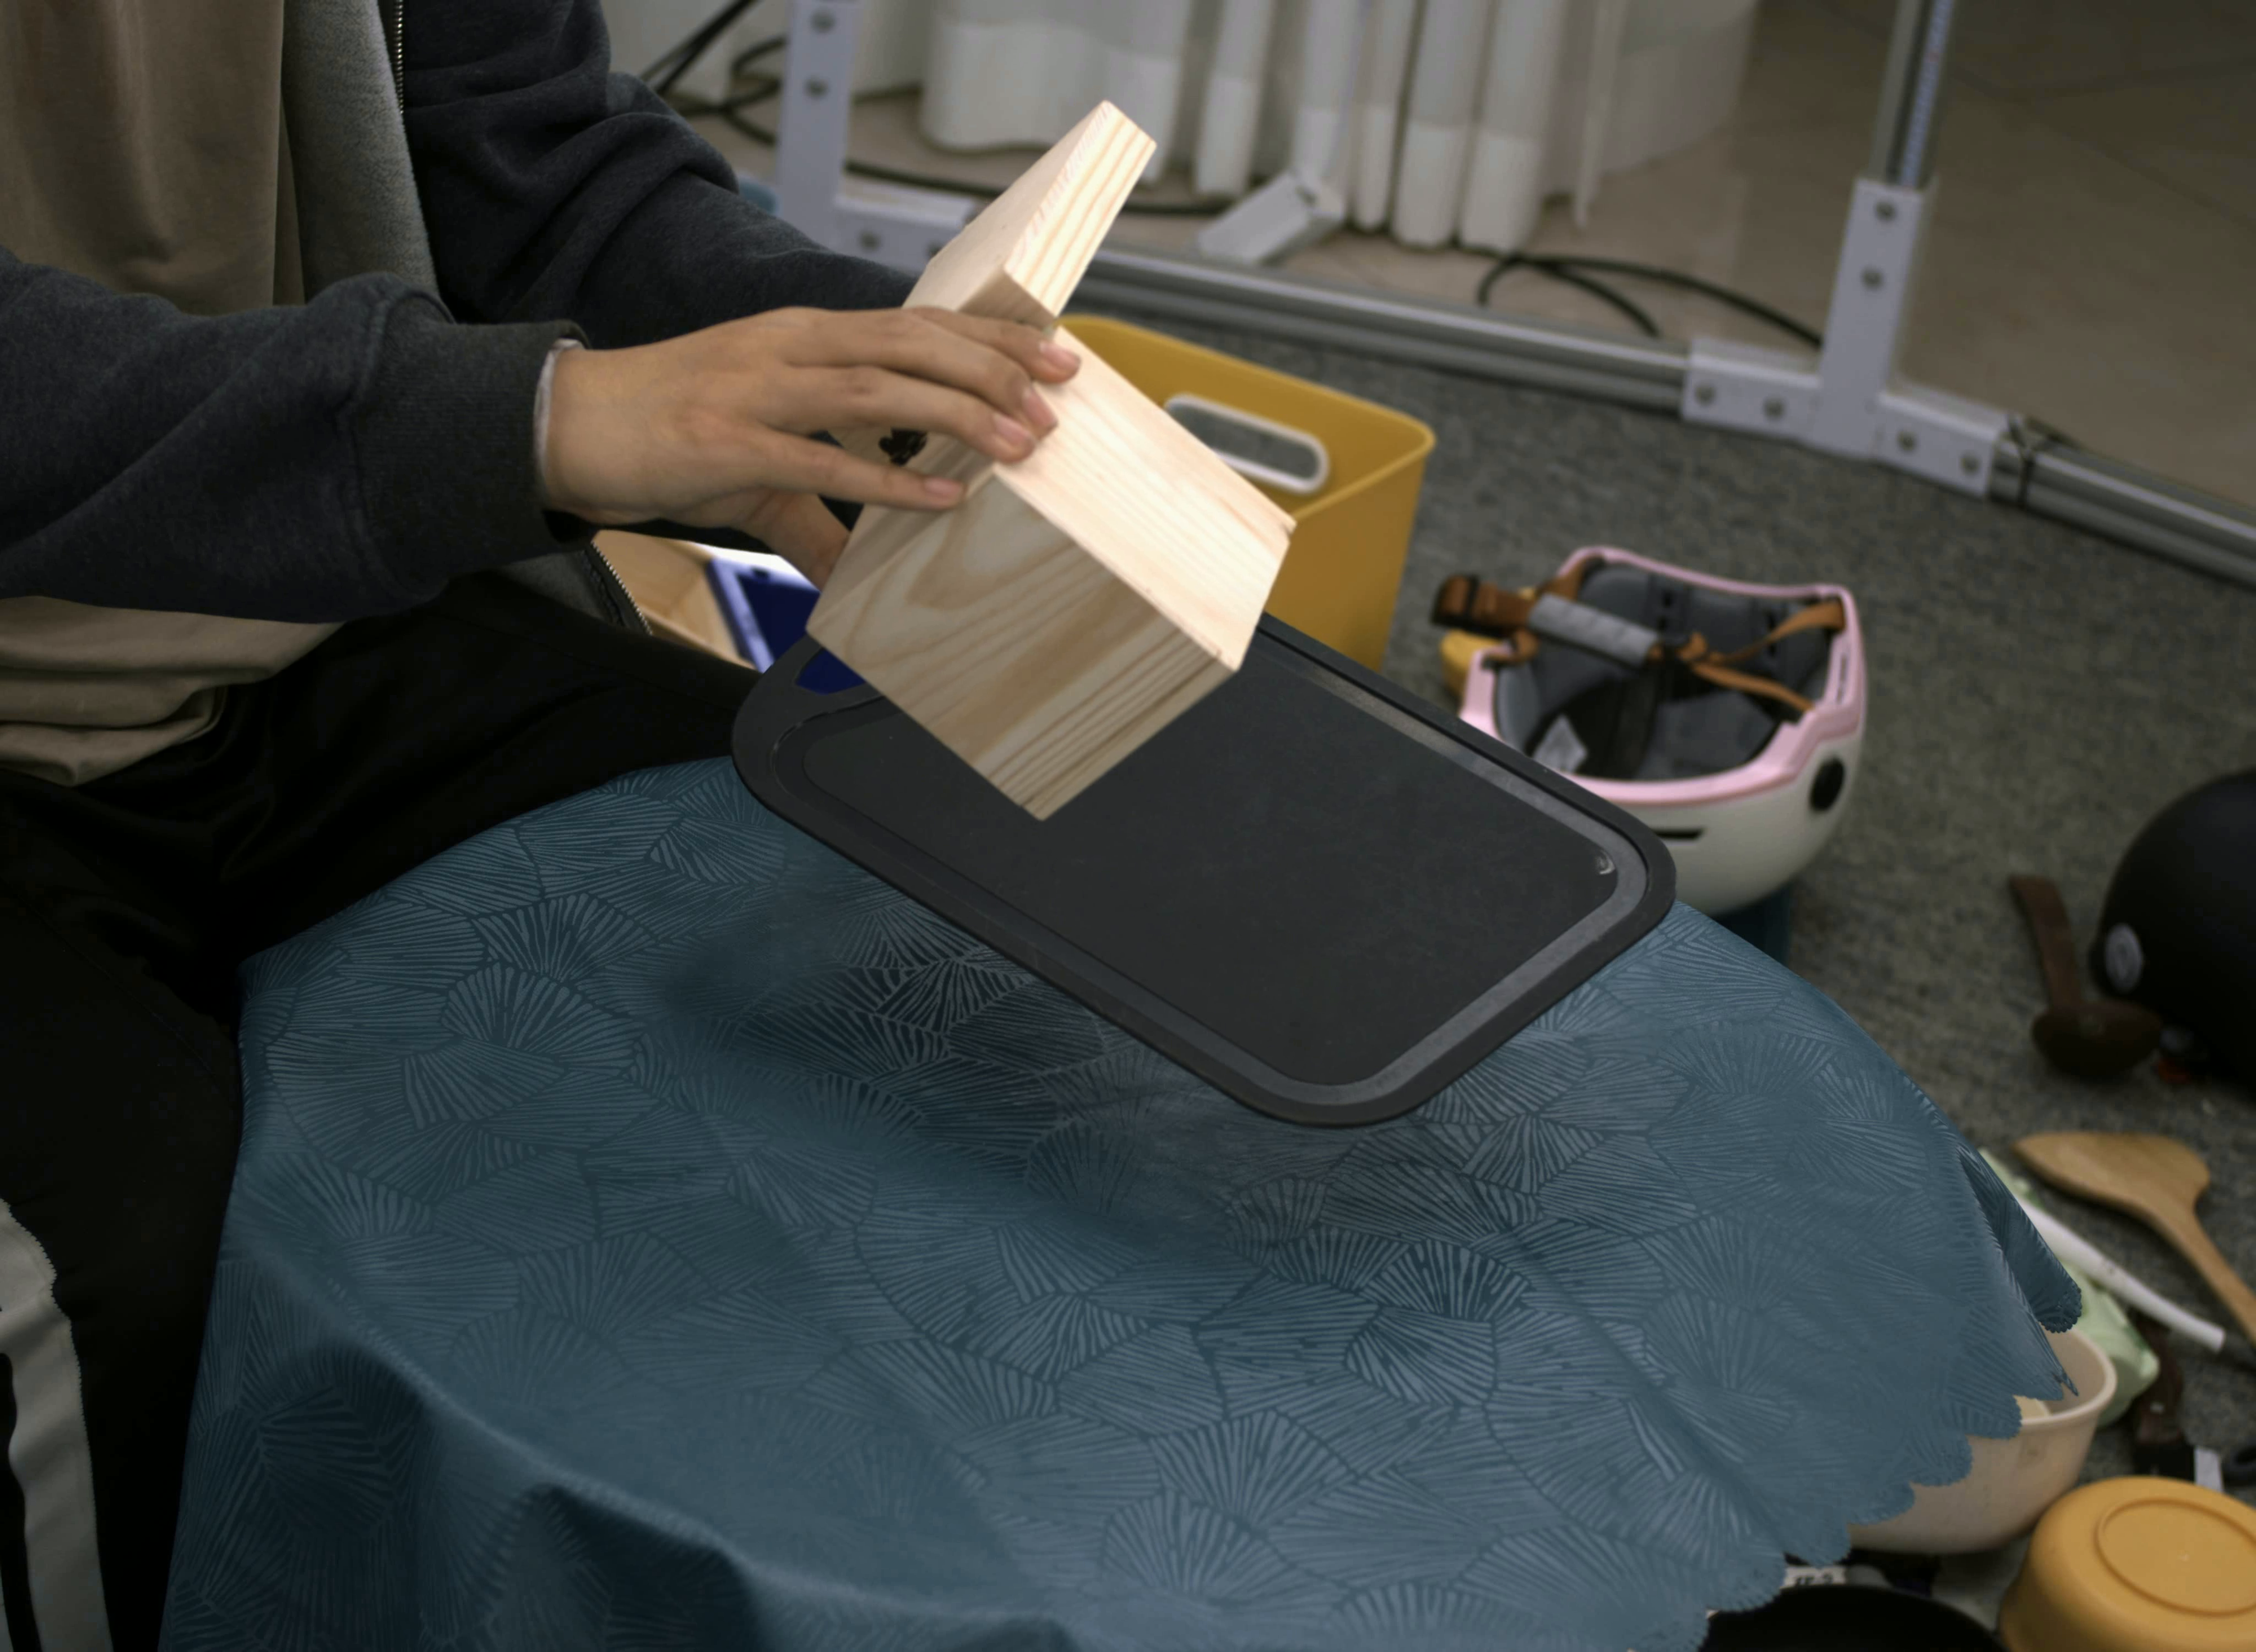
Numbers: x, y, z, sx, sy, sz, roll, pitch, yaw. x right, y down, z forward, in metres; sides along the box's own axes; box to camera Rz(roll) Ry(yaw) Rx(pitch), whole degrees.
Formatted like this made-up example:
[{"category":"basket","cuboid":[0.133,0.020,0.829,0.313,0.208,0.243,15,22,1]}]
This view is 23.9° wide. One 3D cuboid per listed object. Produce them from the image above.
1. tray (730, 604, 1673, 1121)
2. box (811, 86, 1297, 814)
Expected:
[{"category":"tray","cuboid":[0.017,-0.010,1.861,0.328,0.010,0.210,31,47,31]},{"category":"box","cuboid":[-0.016,-0.122,1.714,0.133,0.102,0.185,38,44,-16]}]
